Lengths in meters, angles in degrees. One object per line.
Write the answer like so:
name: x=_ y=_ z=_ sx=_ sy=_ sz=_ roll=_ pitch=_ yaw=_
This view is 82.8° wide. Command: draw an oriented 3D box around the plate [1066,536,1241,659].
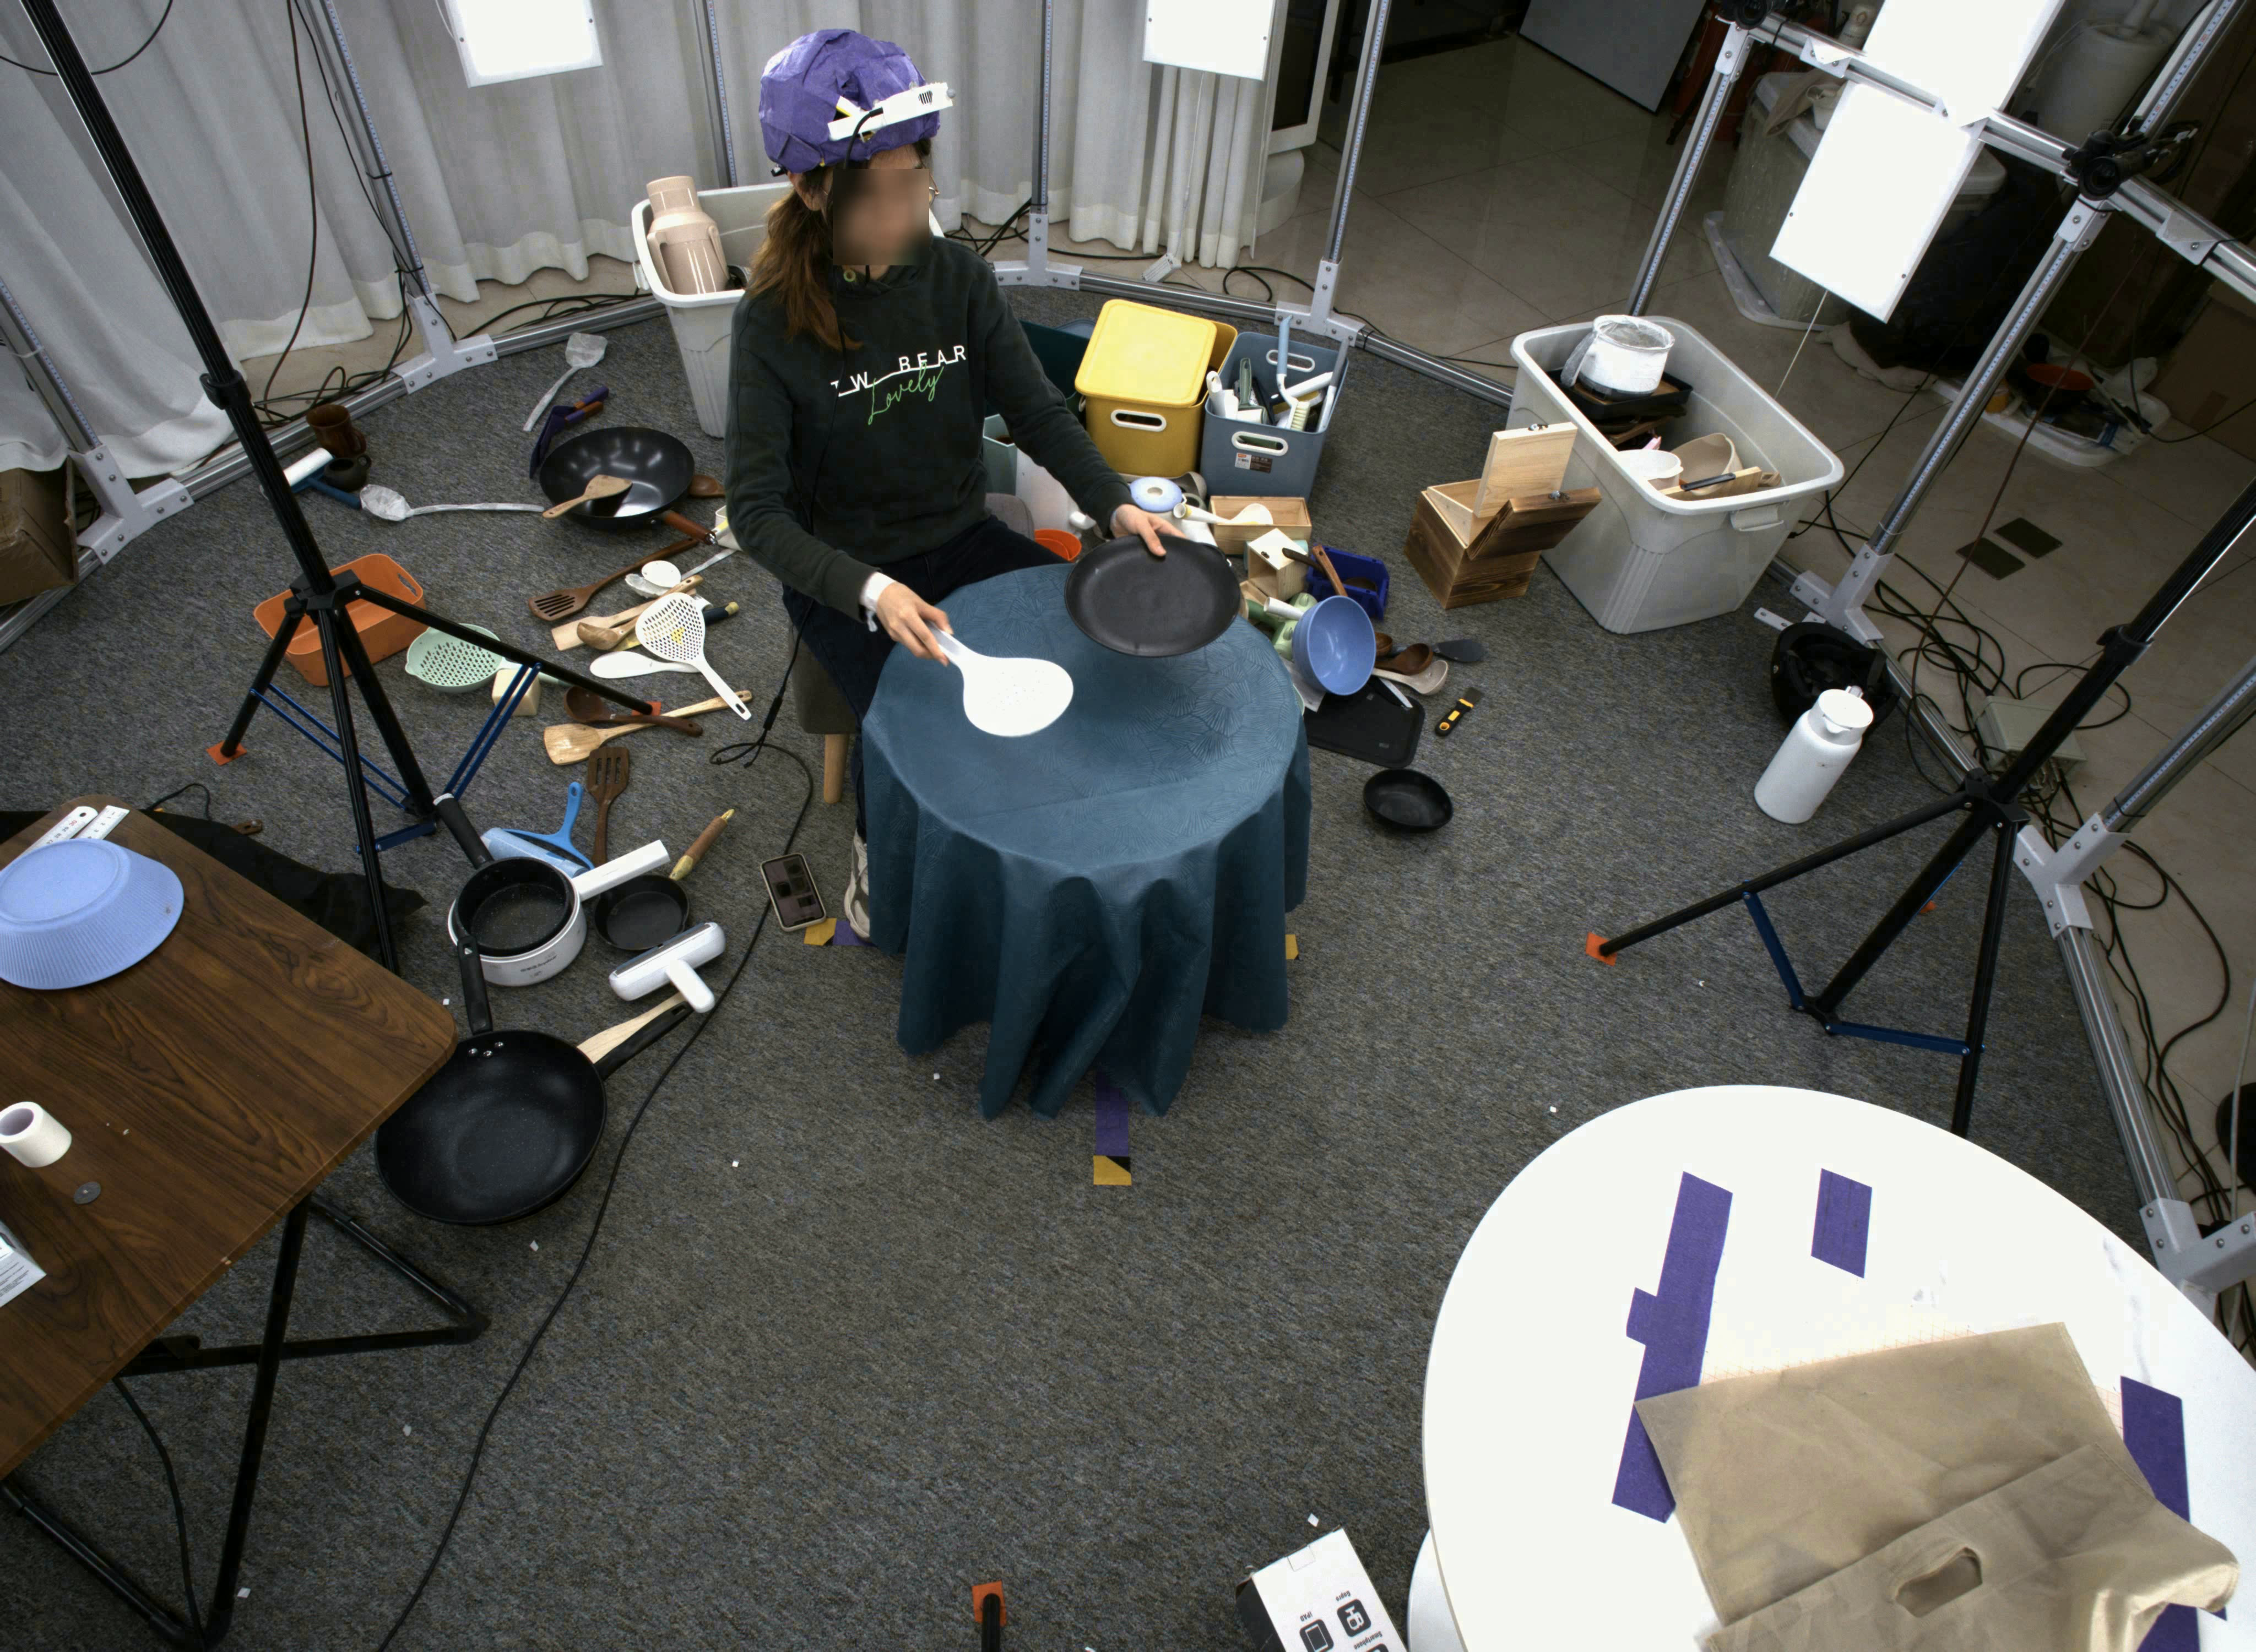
plate: x=0.035 y=-0.315 z=1.789 sx=0.244 sy=0.023 sz=0.250 roll=0 pitch=52 yaw=0

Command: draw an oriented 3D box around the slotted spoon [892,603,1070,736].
slotted spoon: x=-0.206 y=-0.211 z=1.671 sx=0.137 sy=0.044 sz=0.356 roll=-35 pitch=53 yaw=-21
